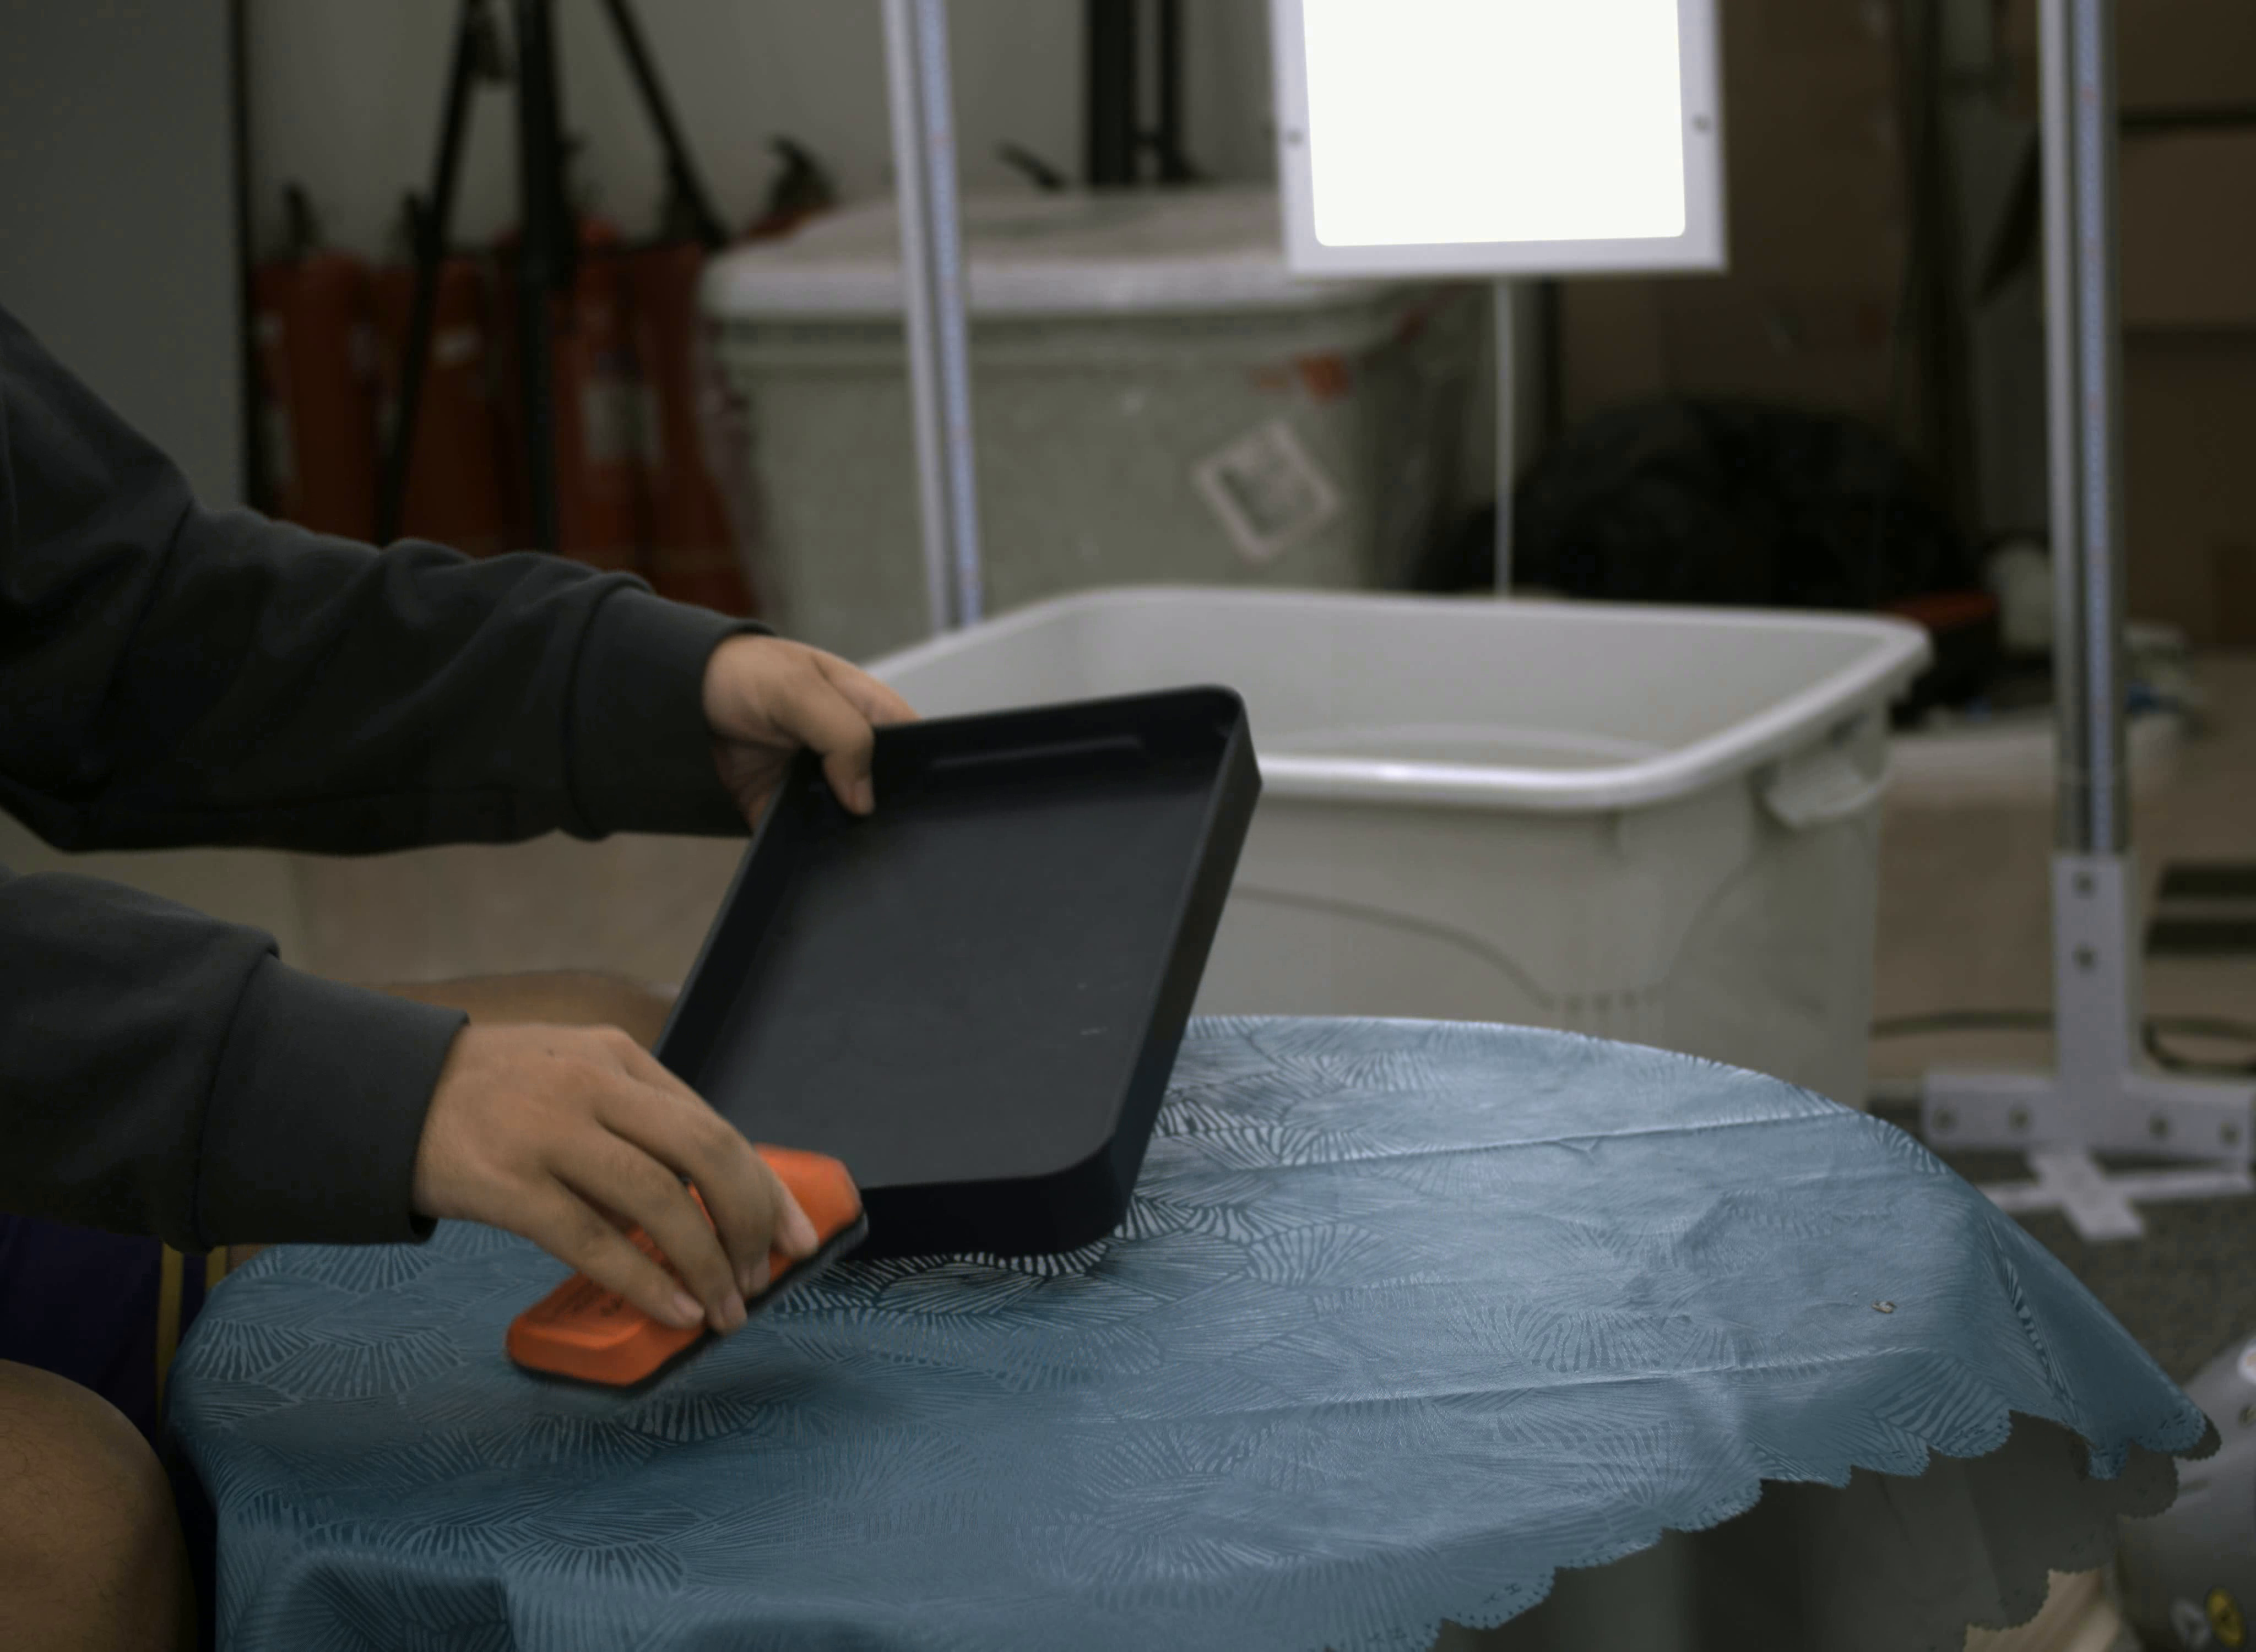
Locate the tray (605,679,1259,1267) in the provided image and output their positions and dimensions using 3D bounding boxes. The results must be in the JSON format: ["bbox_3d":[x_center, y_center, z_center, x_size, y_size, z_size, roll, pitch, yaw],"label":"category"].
[{"bbox_3d":[-0.062,0.050,1.943,0.186,0.037,0.314,-8,30,16],"label":"tray"}]

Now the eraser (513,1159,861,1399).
[{"bbox_3d":[-0.136,0.140,1.712,0.106,0.023,0.060,-37,19,-35],"label":"eraser"}]
